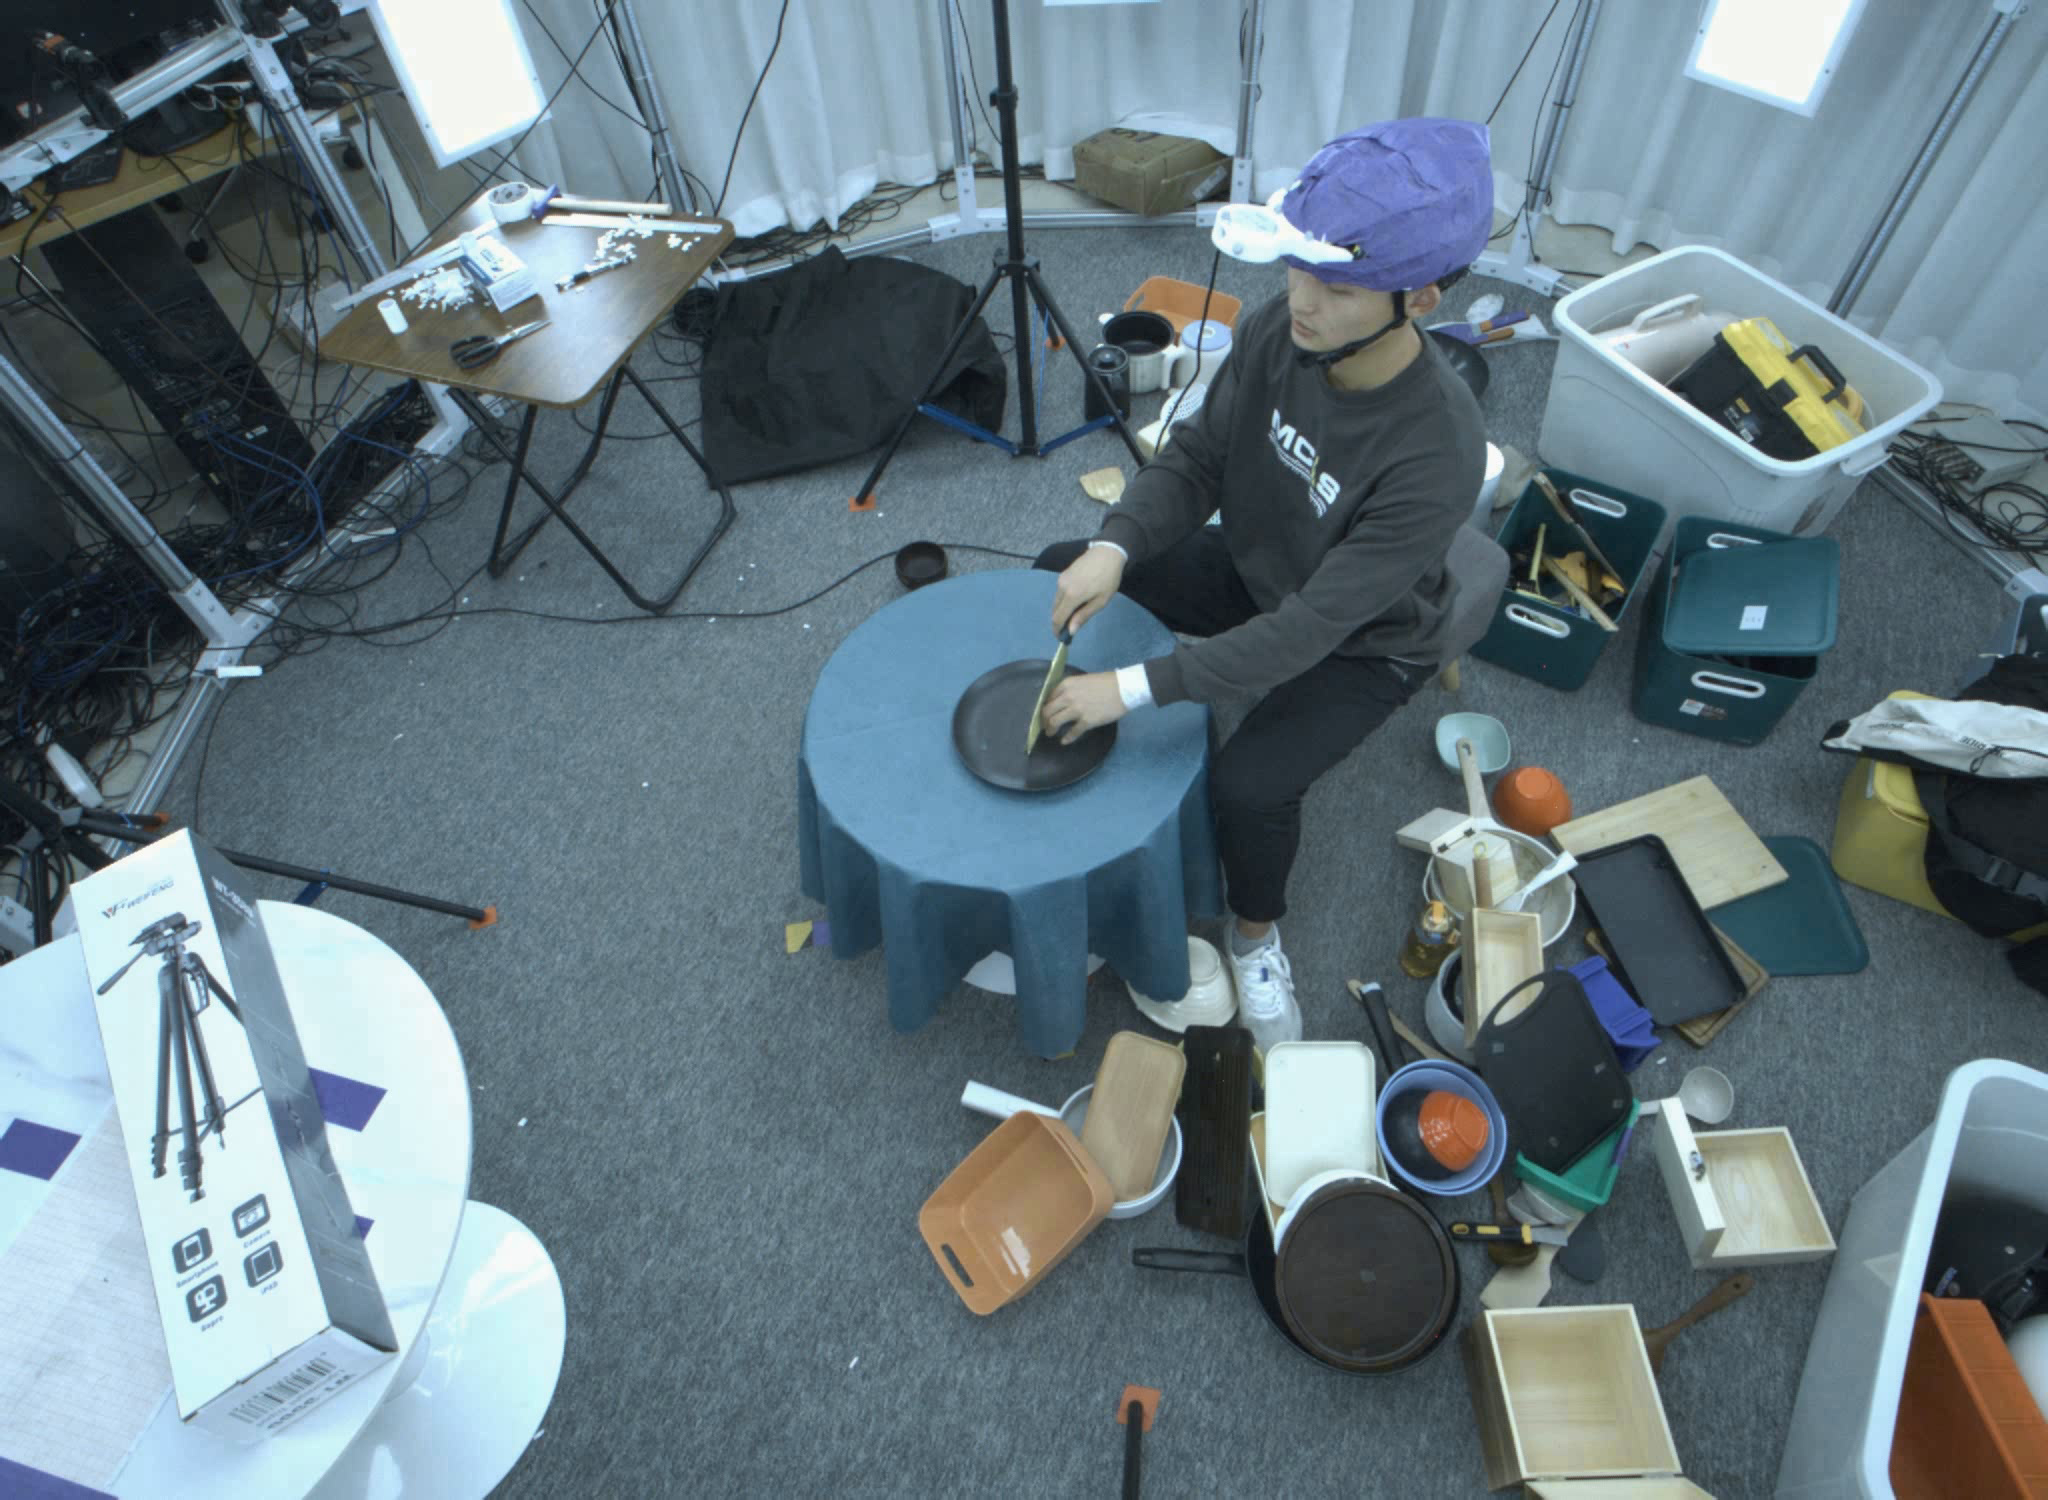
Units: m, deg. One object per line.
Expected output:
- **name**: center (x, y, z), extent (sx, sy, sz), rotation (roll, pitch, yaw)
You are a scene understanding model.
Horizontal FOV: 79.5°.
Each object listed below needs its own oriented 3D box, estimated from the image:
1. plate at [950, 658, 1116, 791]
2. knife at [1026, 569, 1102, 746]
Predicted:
- **plate**: center (0.014, -0.036, 1.806), extent (0.244, 0.023, 0.242), rotation (0, 55, 1)
- **knife**: center (0.056, -0.135, 1.800), extent (0.027, 0.081, 0.289), rotation (20, 75, 10)
